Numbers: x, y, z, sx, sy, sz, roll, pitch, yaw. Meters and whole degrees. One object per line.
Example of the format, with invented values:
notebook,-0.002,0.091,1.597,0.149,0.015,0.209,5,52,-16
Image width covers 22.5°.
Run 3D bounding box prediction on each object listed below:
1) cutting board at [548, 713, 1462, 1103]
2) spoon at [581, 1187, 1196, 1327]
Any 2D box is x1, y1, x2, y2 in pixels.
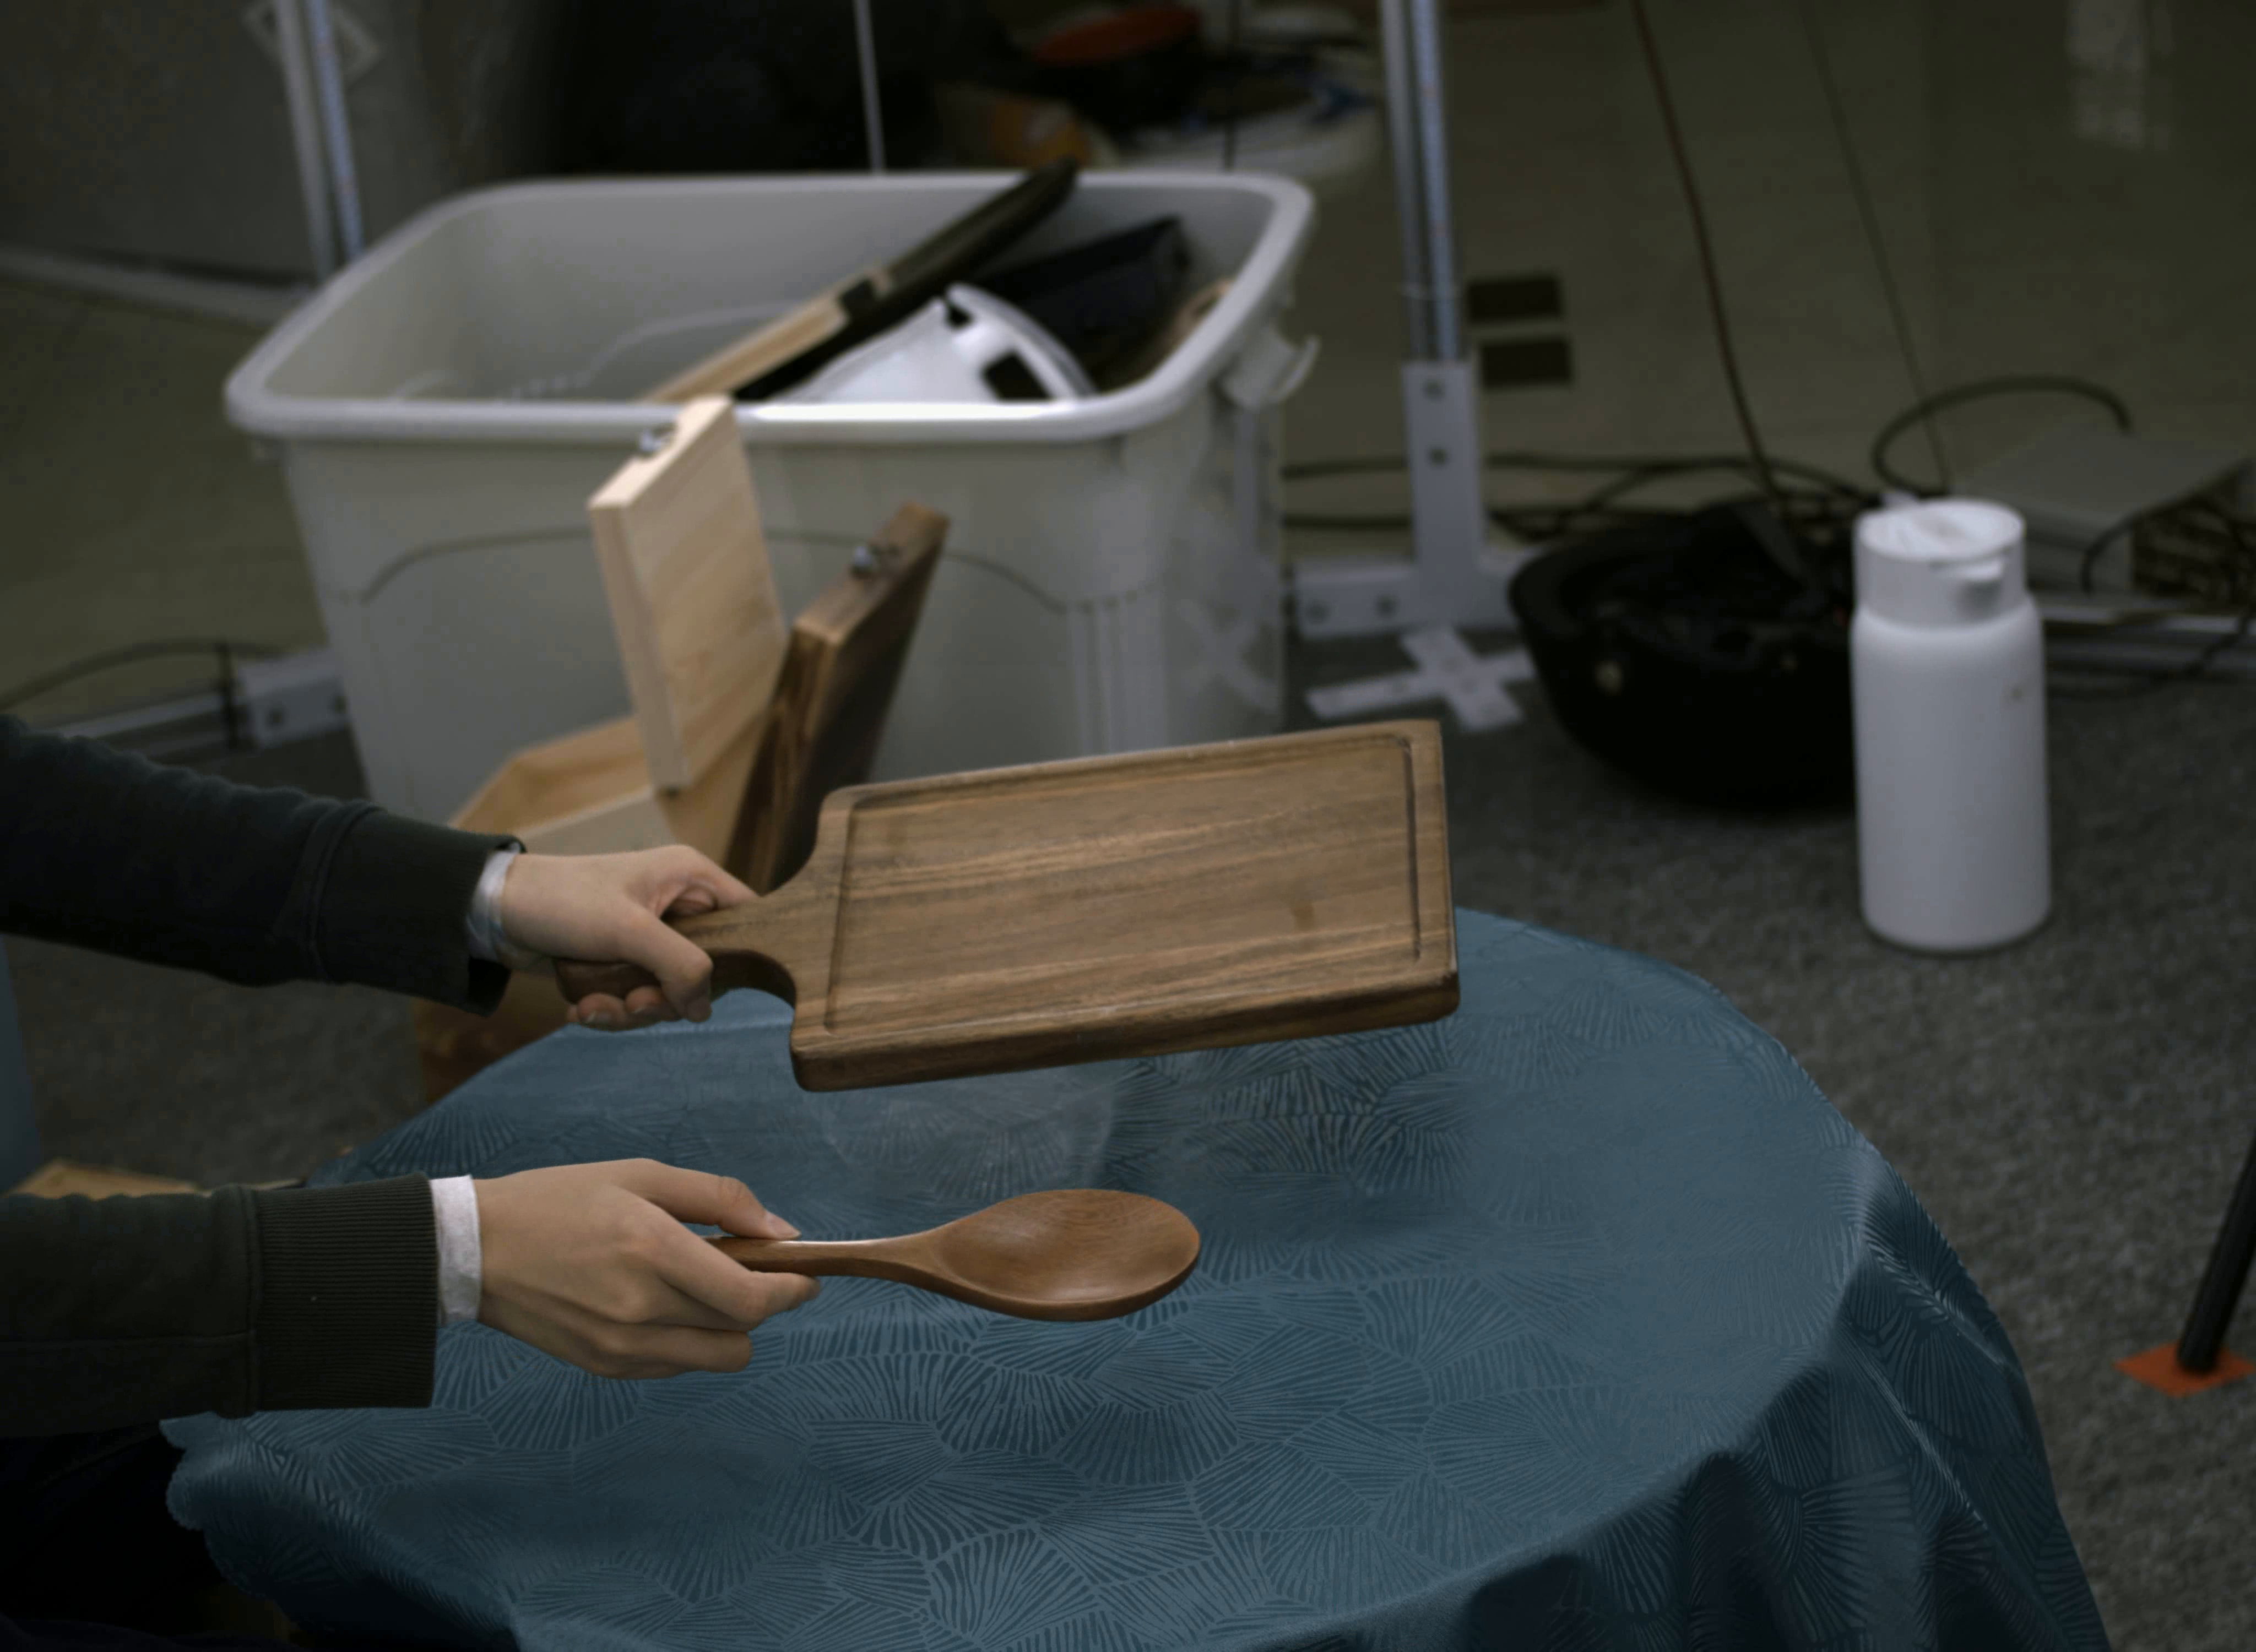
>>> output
cutting board,-0.050,0.035,2.182,0.352,0.023,0.197,-7,33,6
spoon,-0.084,0.151,1.973,0.215,0.017,0.074,1,32,6
